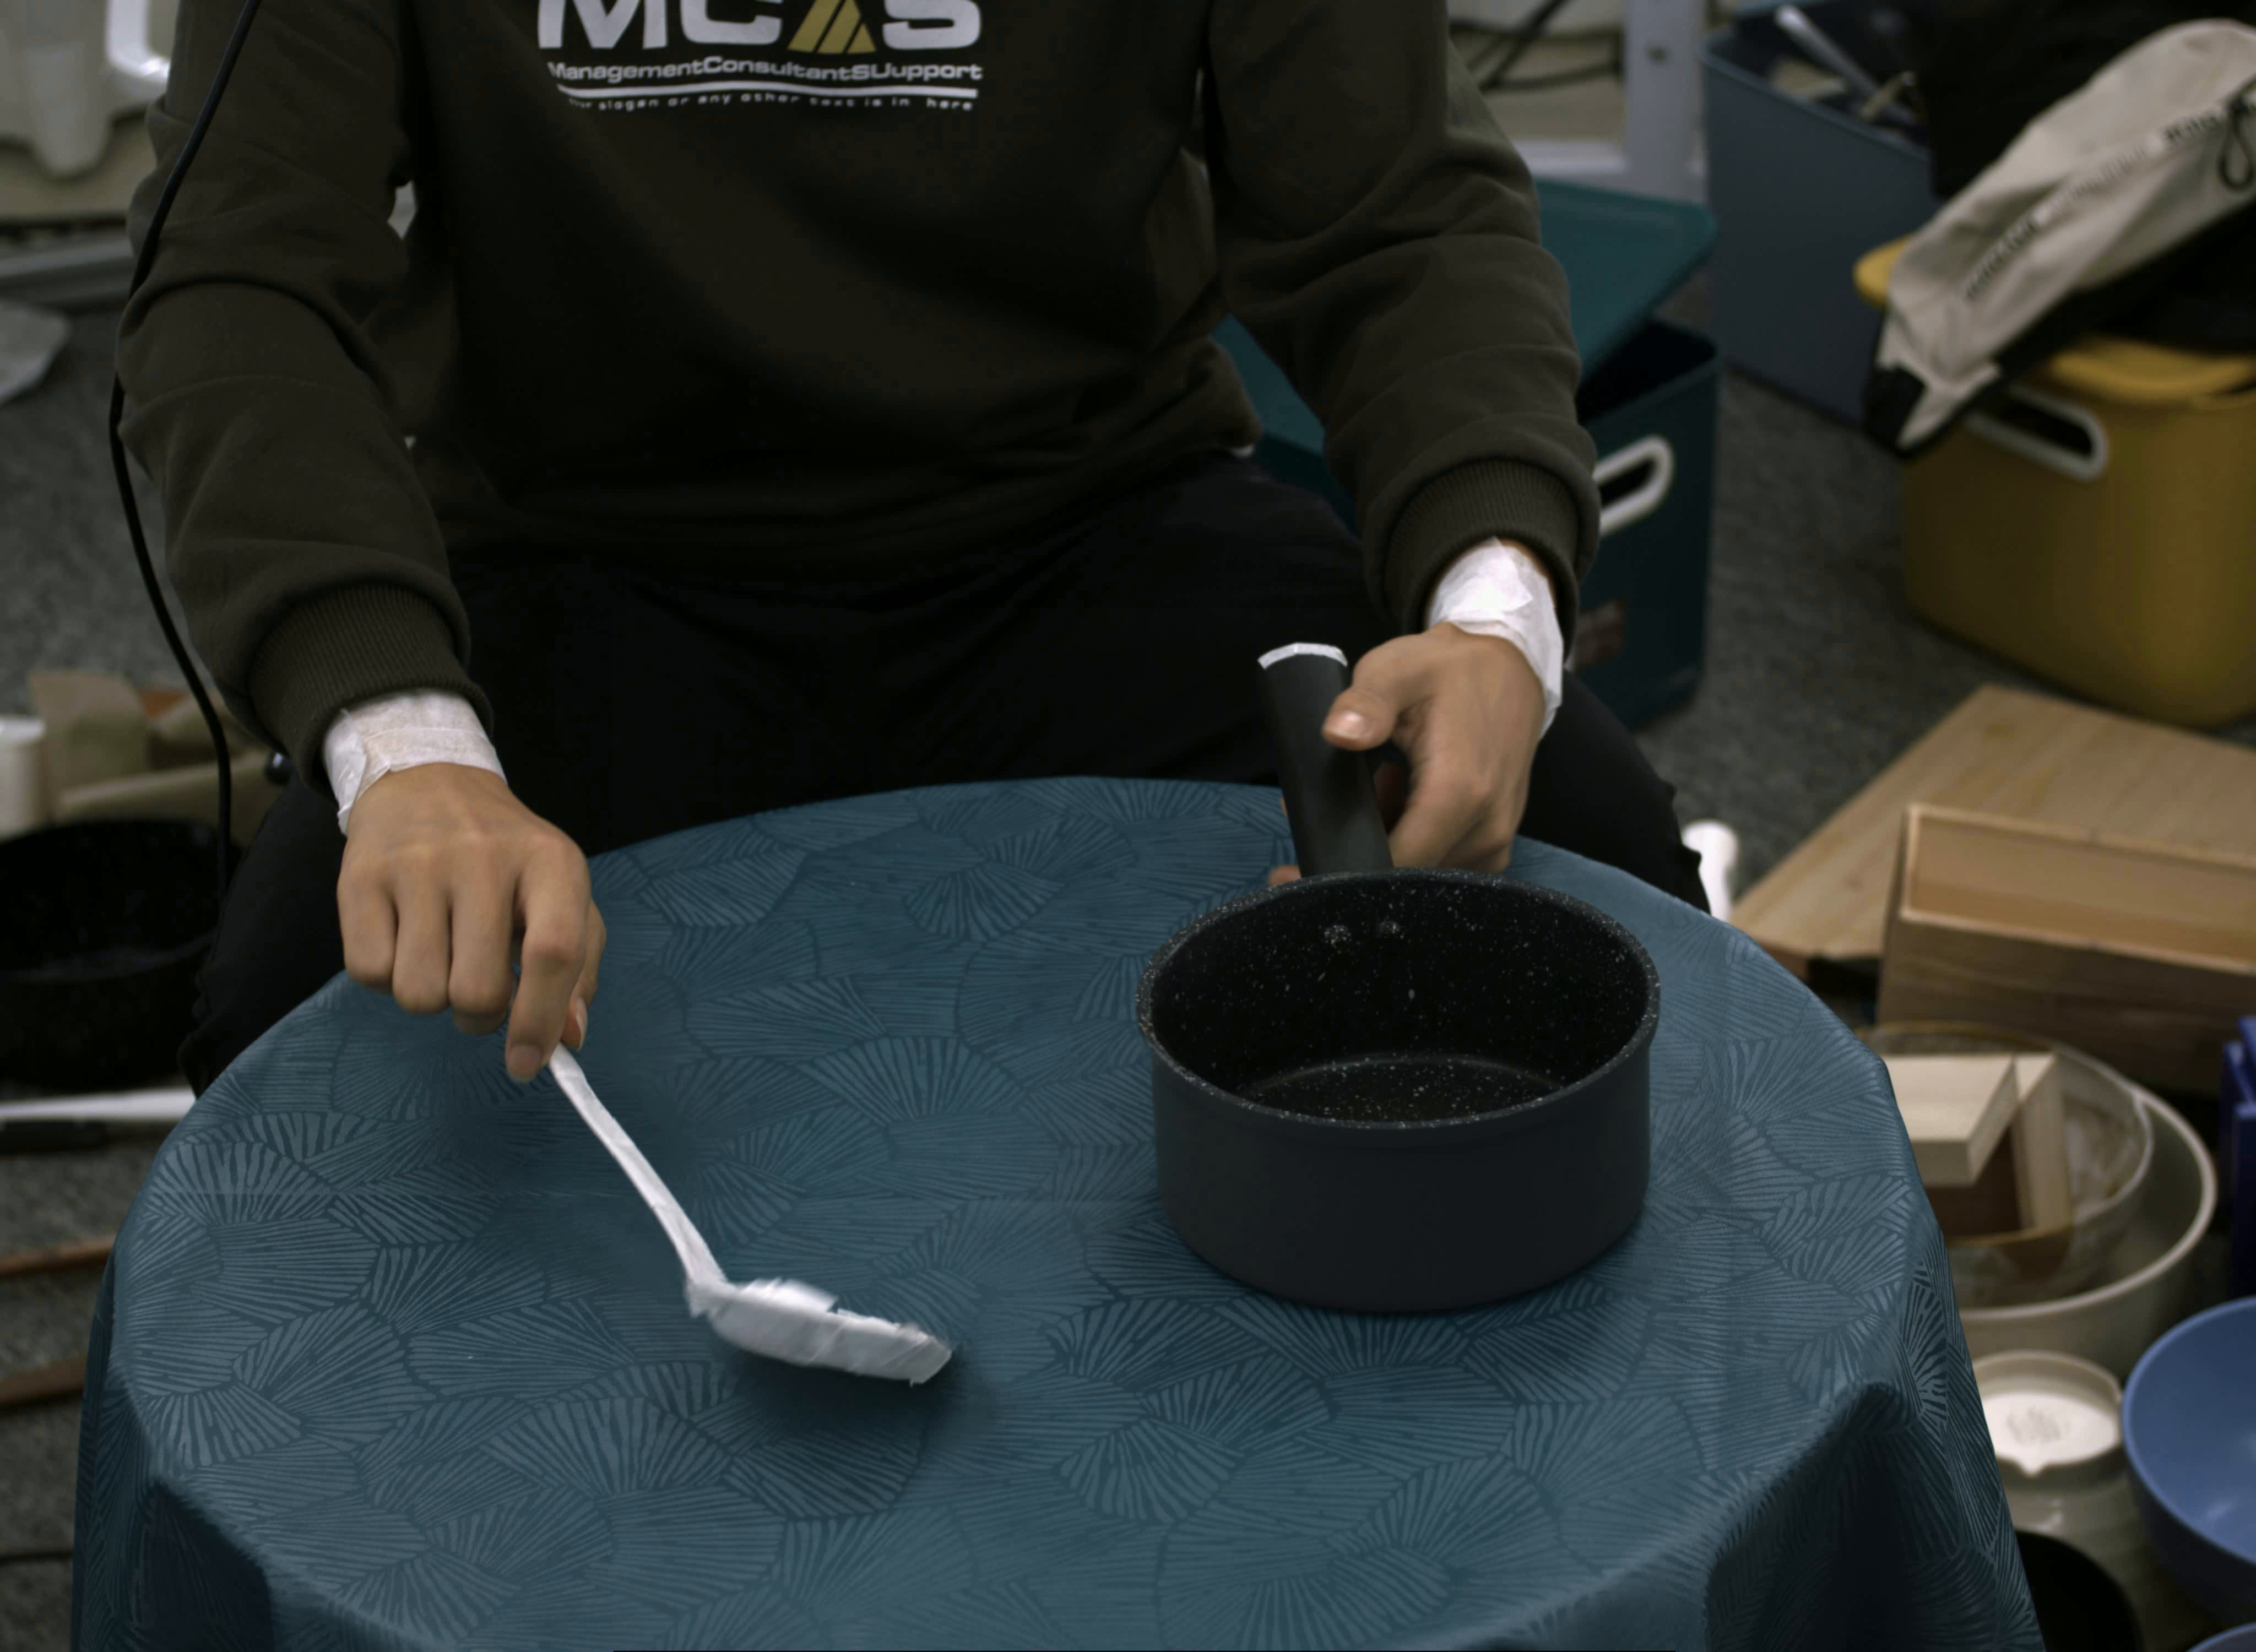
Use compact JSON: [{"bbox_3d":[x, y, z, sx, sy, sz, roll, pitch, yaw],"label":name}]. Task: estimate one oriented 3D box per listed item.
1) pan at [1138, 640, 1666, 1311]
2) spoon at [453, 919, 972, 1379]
[{"bbox_3d":[0.085,0.047,1.908,0.171,0.085,0.333,-3,28,-2],"label":"pan"},{"bbox_3d":[-0.140,0.095,1.819,0.059,0.100,0.280,-46,47,6],"label":"spoon"}]
